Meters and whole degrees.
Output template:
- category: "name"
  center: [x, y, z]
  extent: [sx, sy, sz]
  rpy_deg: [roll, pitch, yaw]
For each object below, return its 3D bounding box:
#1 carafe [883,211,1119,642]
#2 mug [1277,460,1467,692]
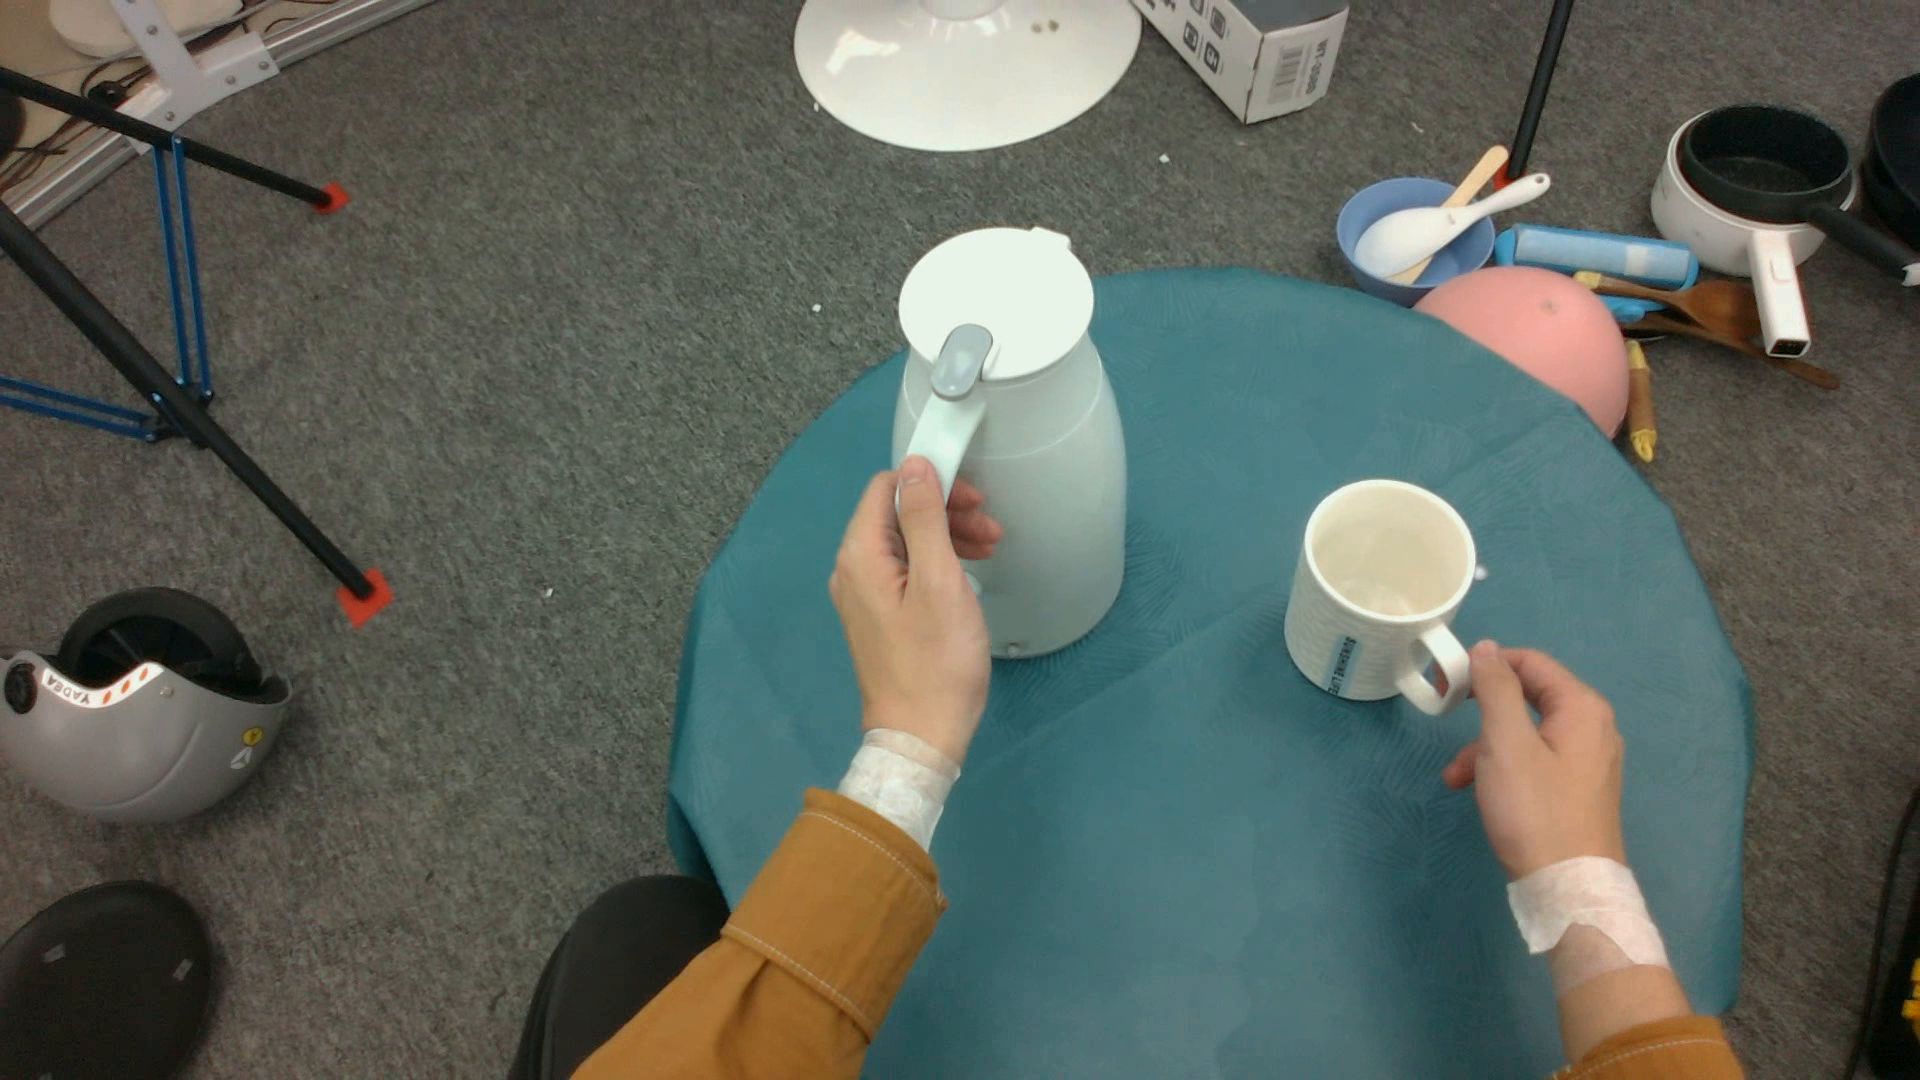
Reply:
- category: "carafe"
  center: [0.014, -0.044, 0.730]
  extent: [0.132, 0.247, 0.168]
  rpy_deg: [20, 63, 15]
- category: "mug"
  center: [0.230, 0.031, 0.752]
  extent: [0.085, 0.101, 0.118]
  rpy_deg: [-26, 61, -10]
